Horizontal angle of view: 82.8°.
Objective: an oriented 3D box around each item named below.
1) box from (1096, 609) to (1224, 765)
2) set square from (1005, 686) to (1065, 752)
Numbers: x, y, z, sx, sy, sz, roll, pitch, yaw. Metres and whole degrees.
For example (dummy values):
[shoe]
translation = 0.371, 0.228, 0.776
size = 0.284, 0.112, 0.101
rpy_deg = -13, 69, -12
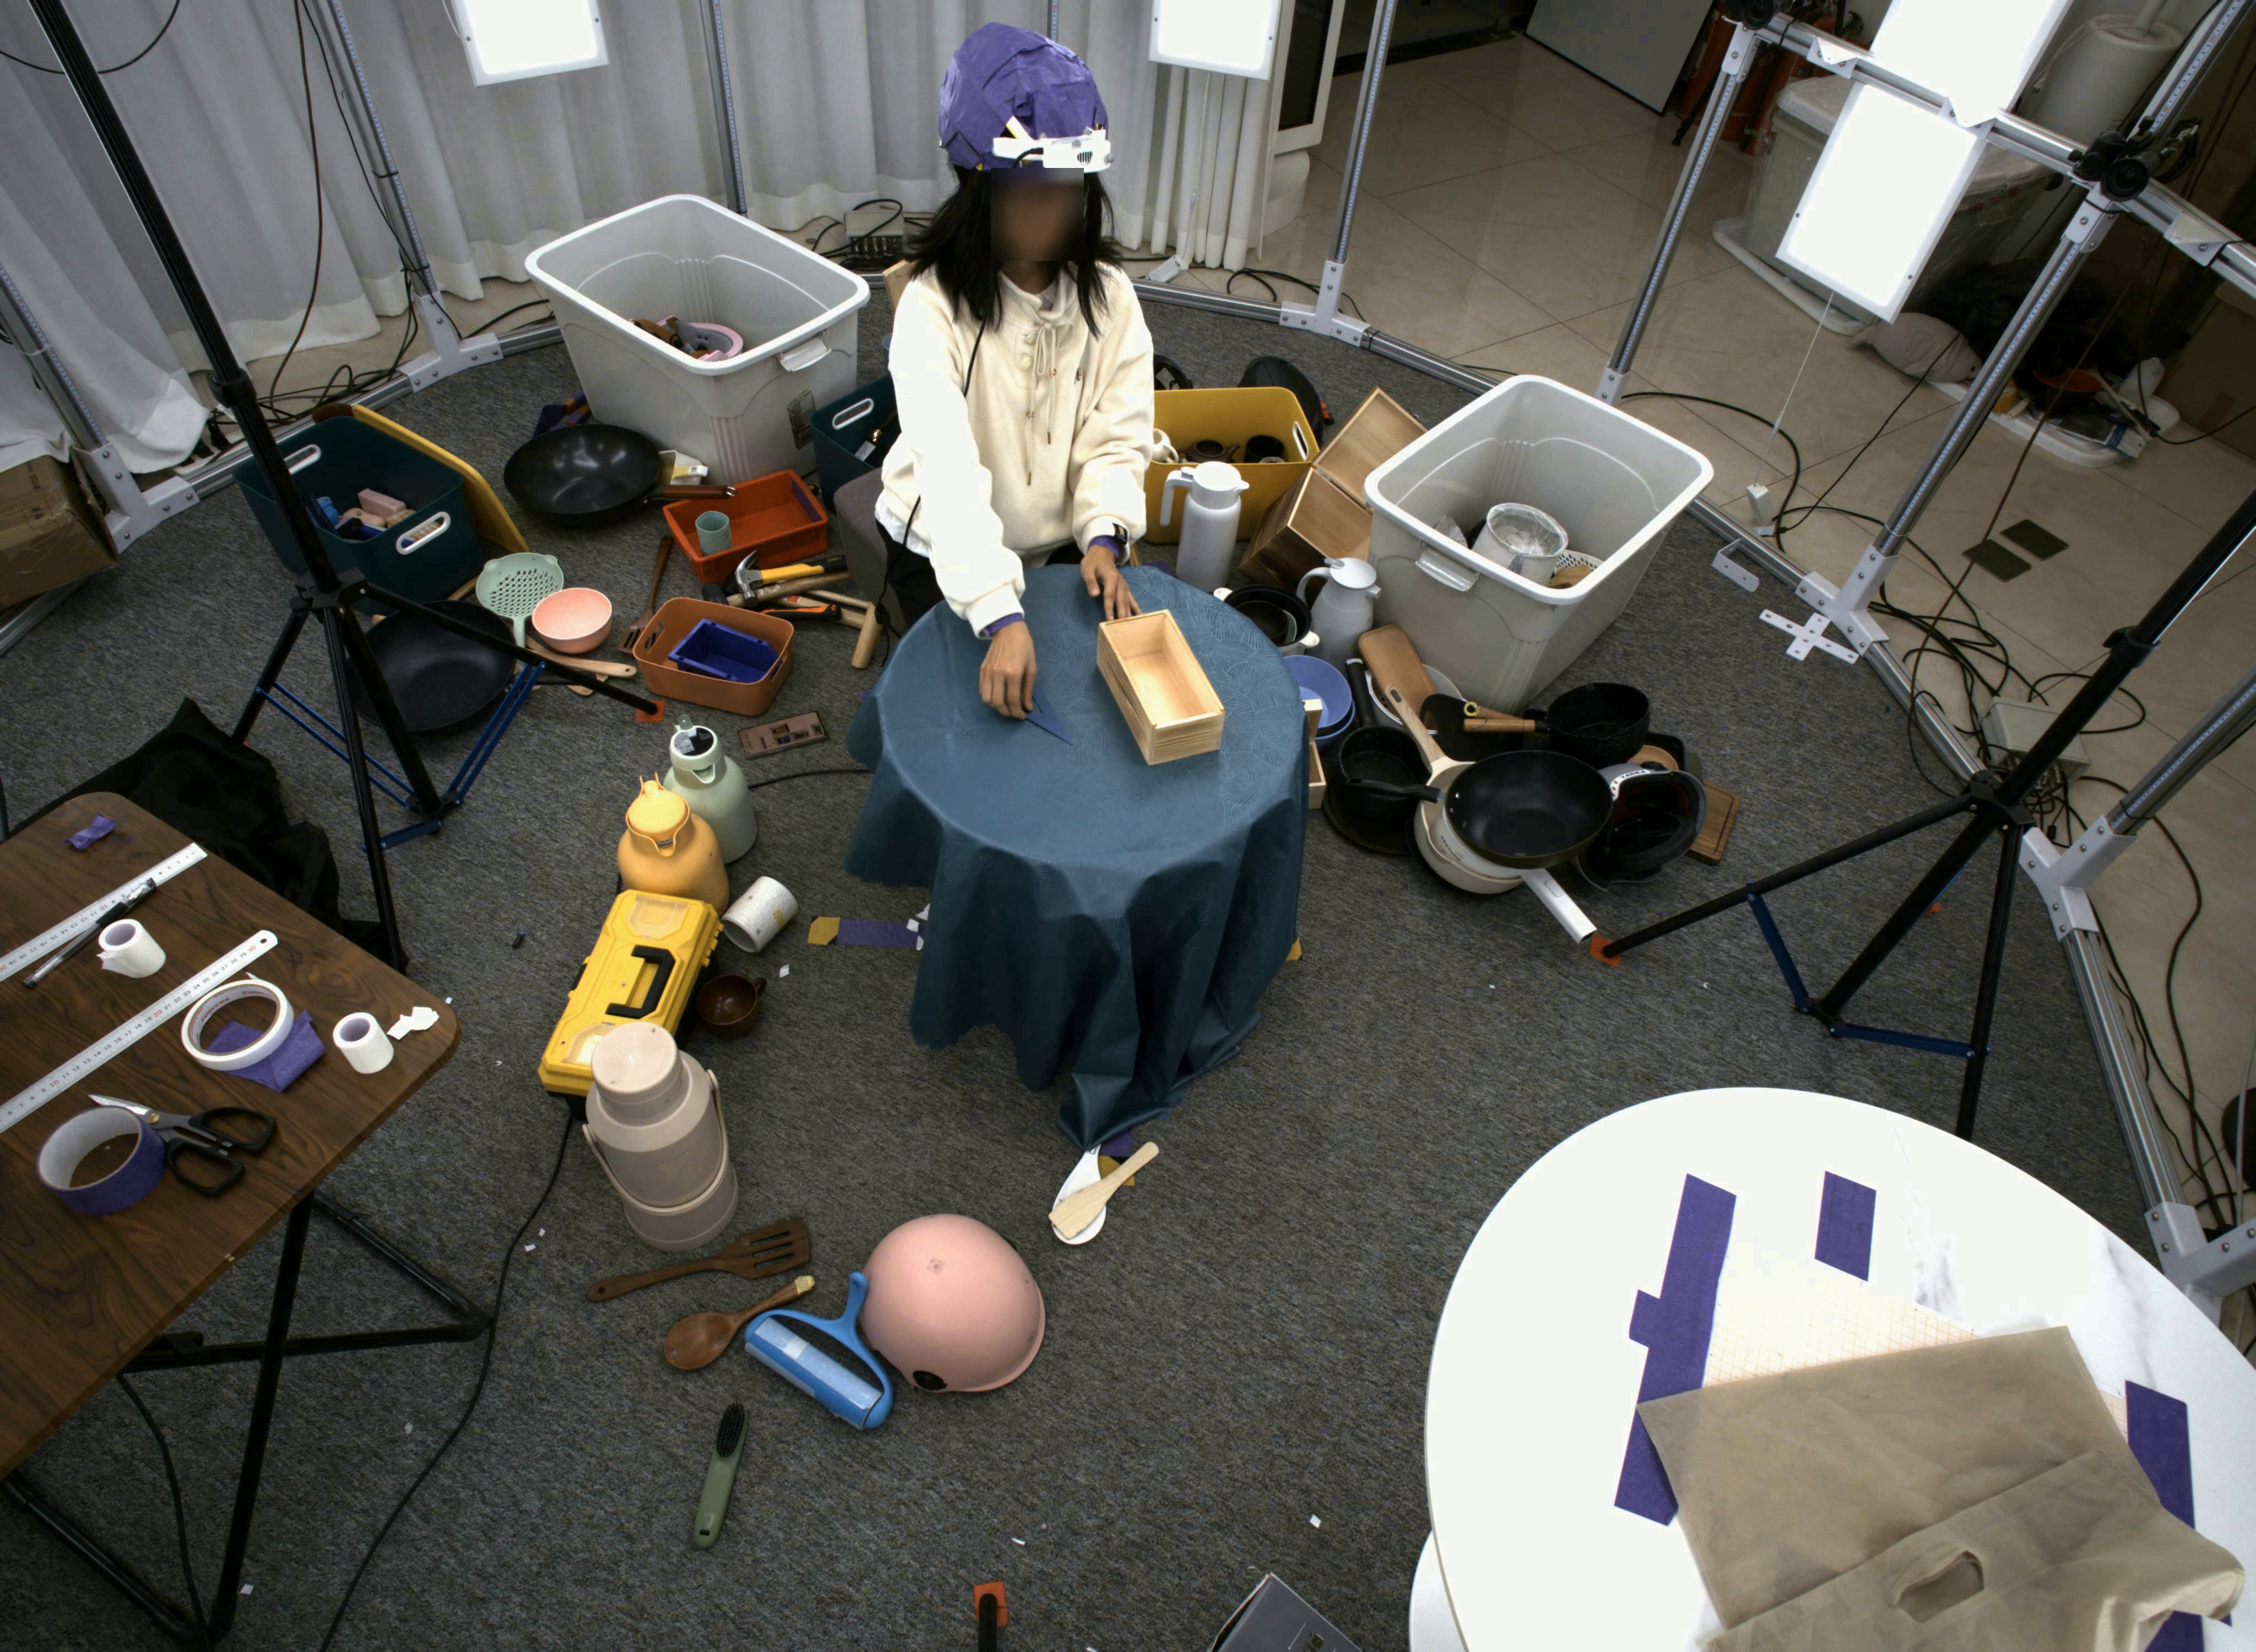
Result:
[box]
translation = 0.041, -0.197, 1.792
size = 0.107, 0.078, 0.216
rpy_deg = -13, 52, -16
[set square]
translation = -0.132, -0.147, 1.784
size = 0.061, 0.006, 0.135
rpy_deg = -10, 51, -19
